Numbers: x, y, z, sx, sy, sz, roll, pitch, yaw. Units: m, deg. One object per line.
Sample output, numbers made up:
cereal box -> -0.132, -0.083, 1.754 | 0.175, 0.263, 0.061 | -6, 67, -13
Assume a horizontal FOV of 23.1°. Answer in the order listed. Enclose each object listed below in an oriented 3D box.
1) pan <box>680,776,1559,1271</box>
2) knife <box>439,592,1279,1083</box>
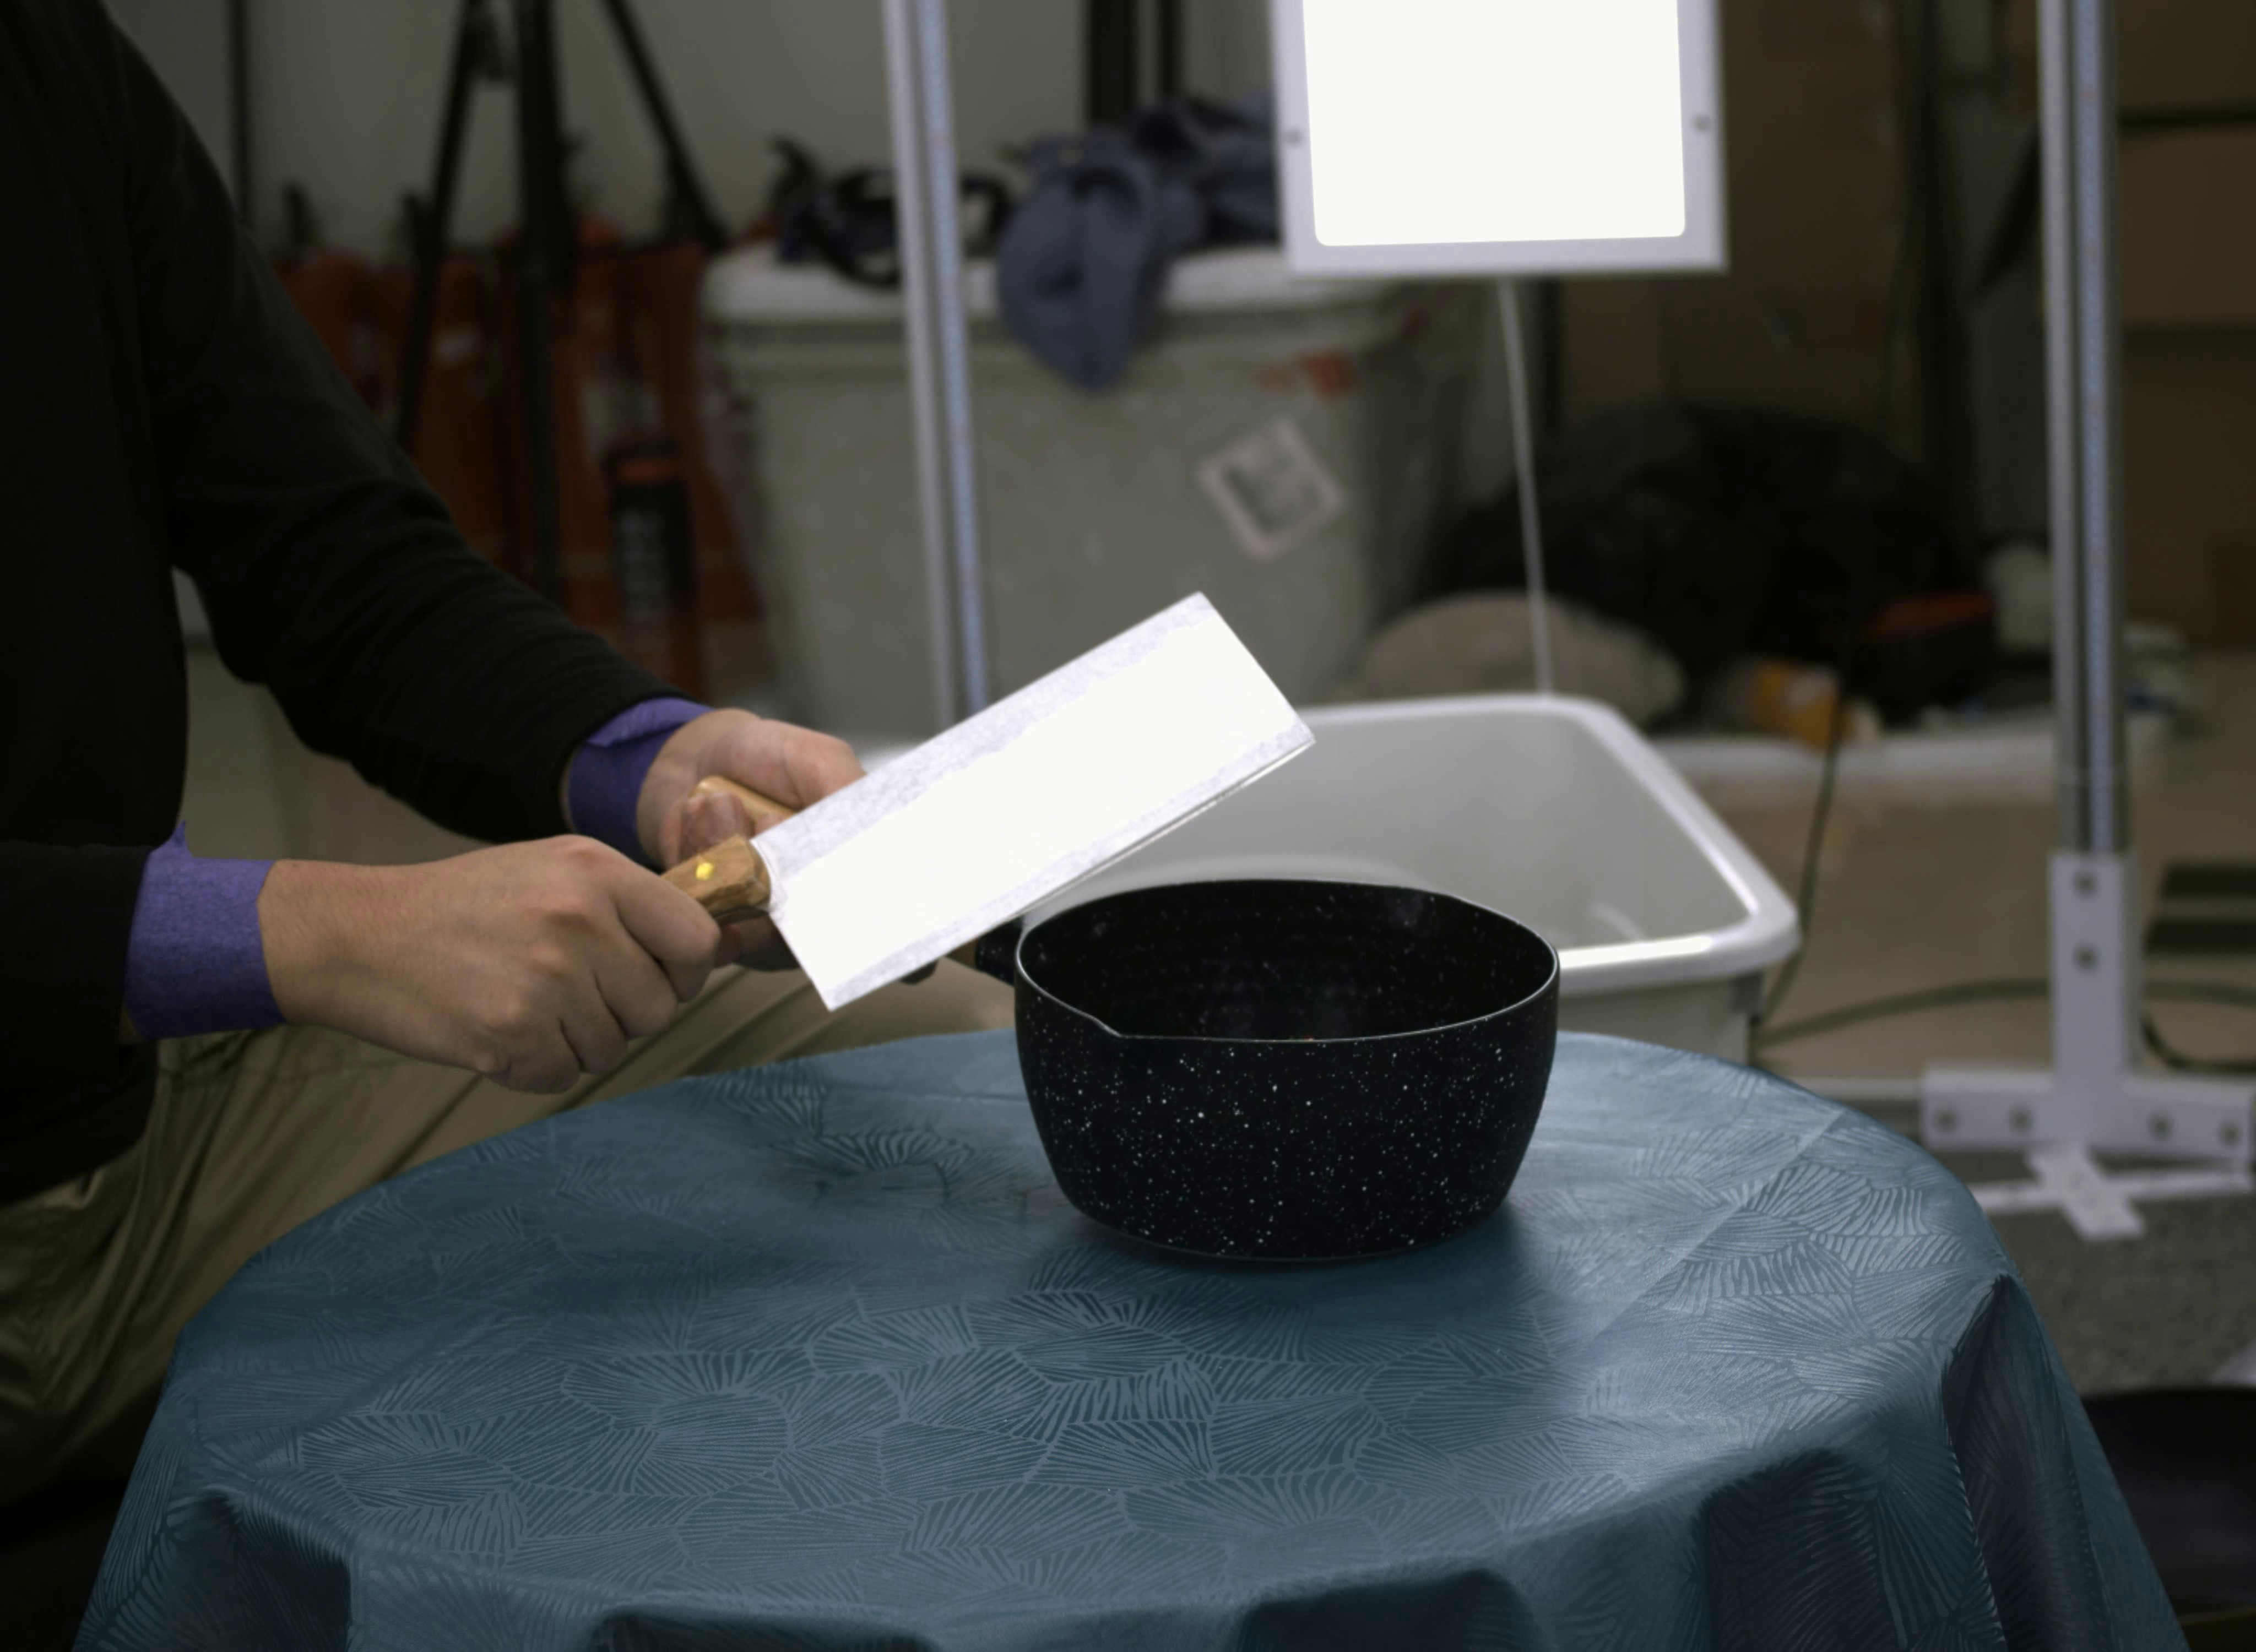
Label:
pan -> -0.015, 0.062, 1.895 | 0.349, 0.109, 0.202 | 11, 19, 31
knife -> -0.088, 0.016, 1.874 | 0.304, 0.021, 0.094 | -30, 47, -5
